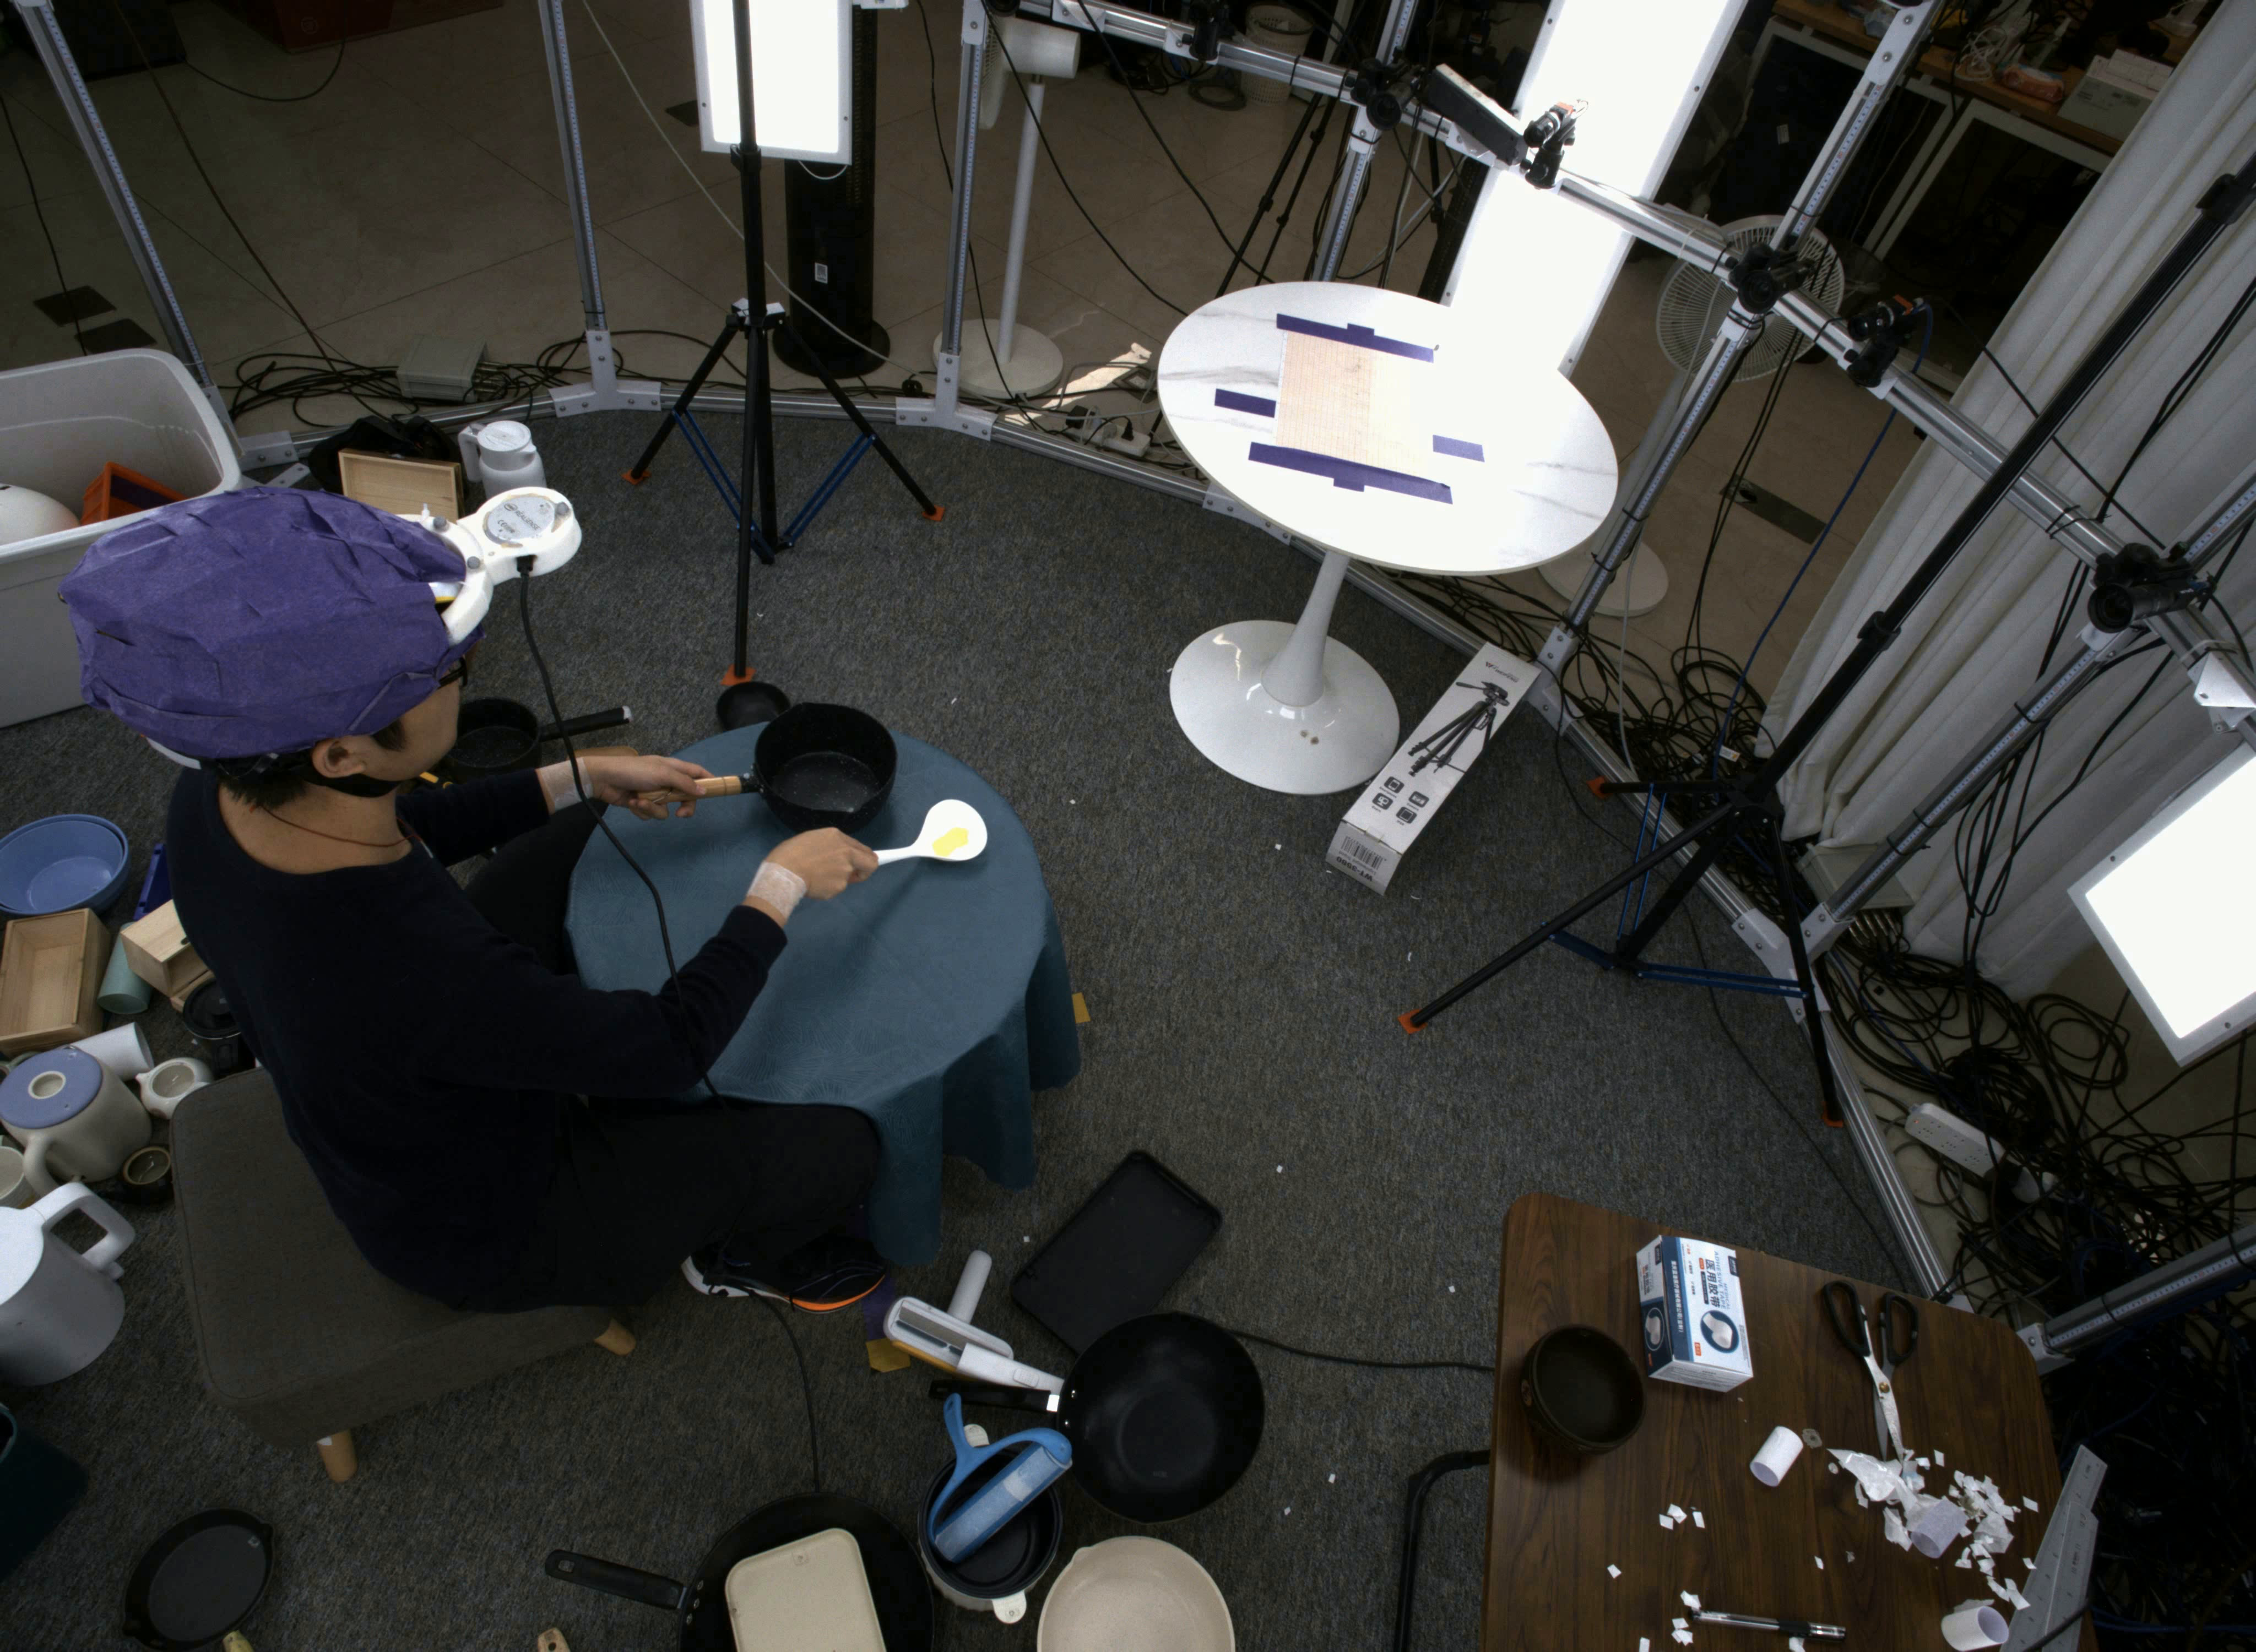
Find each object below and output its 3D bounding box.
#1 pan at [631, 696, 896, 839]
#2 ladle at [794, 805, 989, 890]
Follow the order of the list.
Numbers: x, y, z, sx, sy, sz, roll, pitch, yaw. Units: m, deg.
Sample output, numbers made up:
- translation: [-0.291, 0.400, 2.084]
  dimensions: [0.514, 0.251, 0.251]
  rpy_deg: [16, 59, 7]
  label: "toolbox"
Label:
- translation: [-0.468, -0.055, 1.671]
  dimensions: [0.345, 0.110, 0.202]
  rpy_deg: [-18, 61, -29]
  label: "pan"
- translation: [-0.289, 0.031, 1.623]
  dimensions: [0.297, 0.069, 0.090]
  rpy_deg: [-12, 70, -58]
  label: "ladle"
